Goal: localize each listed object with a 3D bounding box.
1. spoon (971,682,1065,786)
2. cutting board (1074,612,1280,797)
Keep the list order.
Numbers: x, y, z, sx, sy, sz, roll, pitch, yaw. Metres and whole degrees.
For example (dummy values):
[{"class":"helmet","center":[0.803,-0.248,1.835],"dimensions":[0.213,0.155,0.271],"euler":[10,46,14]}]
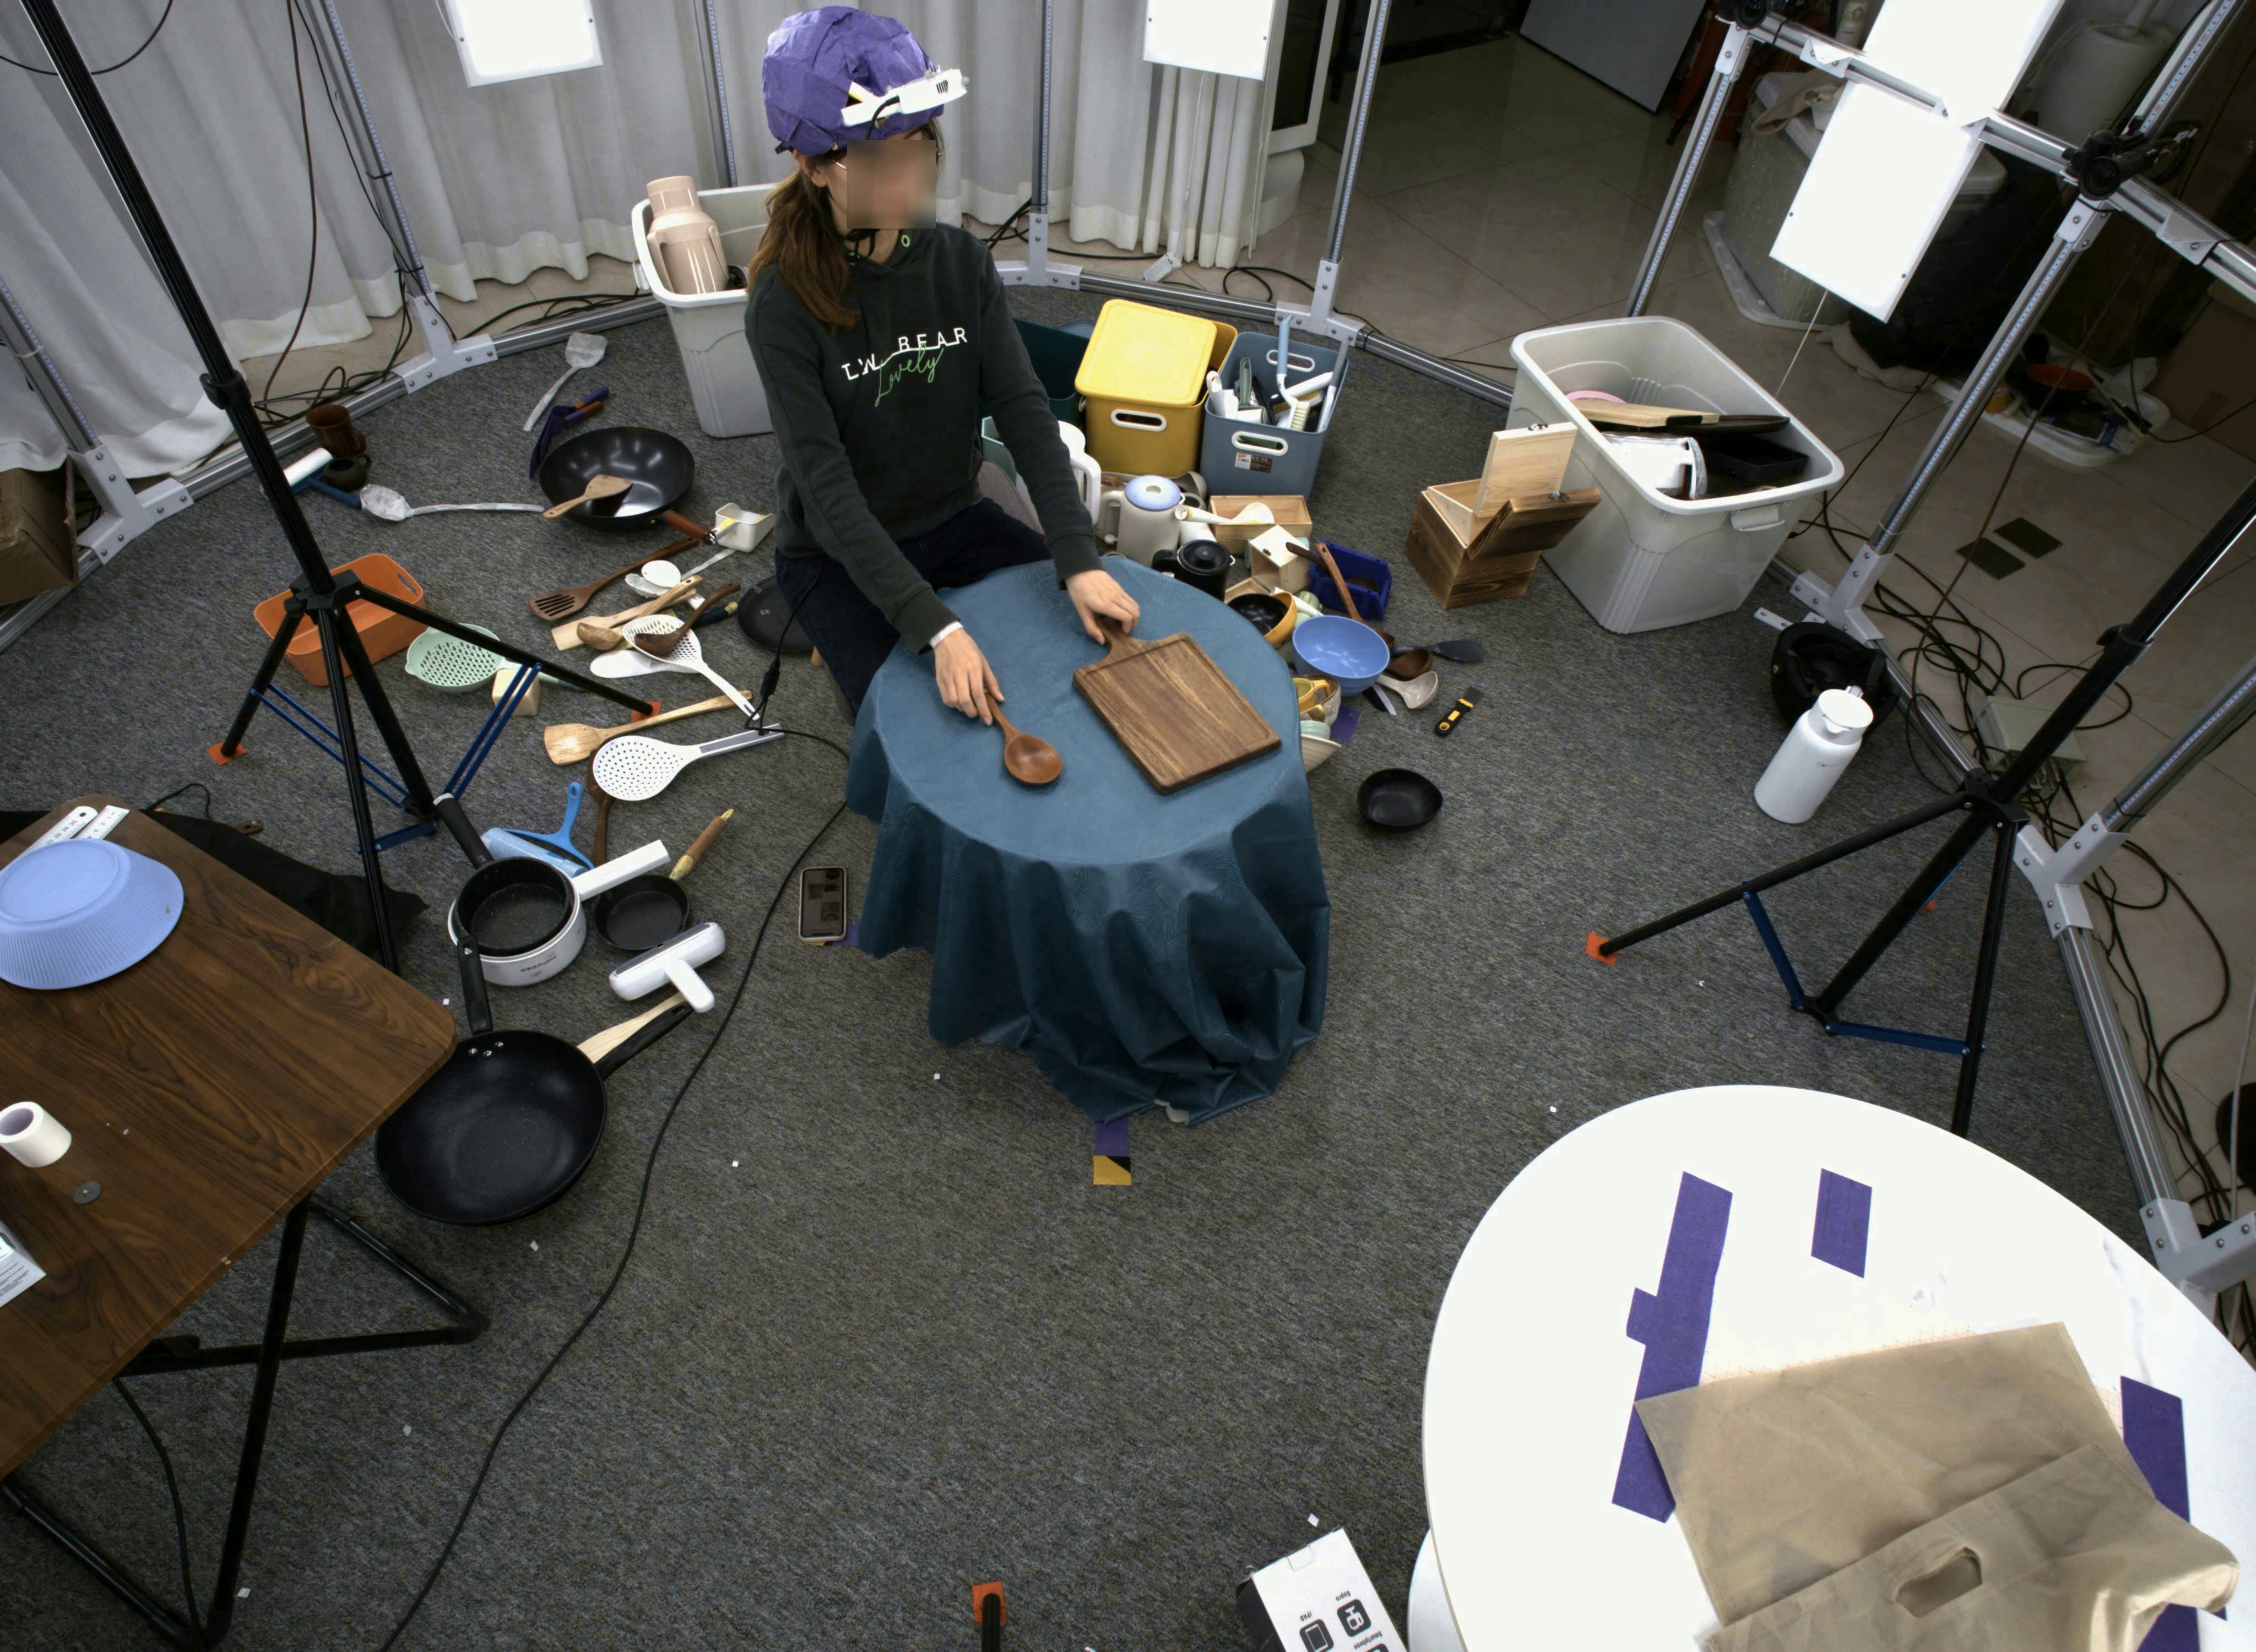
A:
[{"class":"spoon","center":[-0.159,-0.128,1.773],"dimensions":[0.076,0.017,0.220],"euler":[-24,55,-20]},{"class":"cutting board","center":[0.042,-0.197,1.847],"dimensions":[0.201,0.022,0.359],"euler":[-23,54,-21]}]
